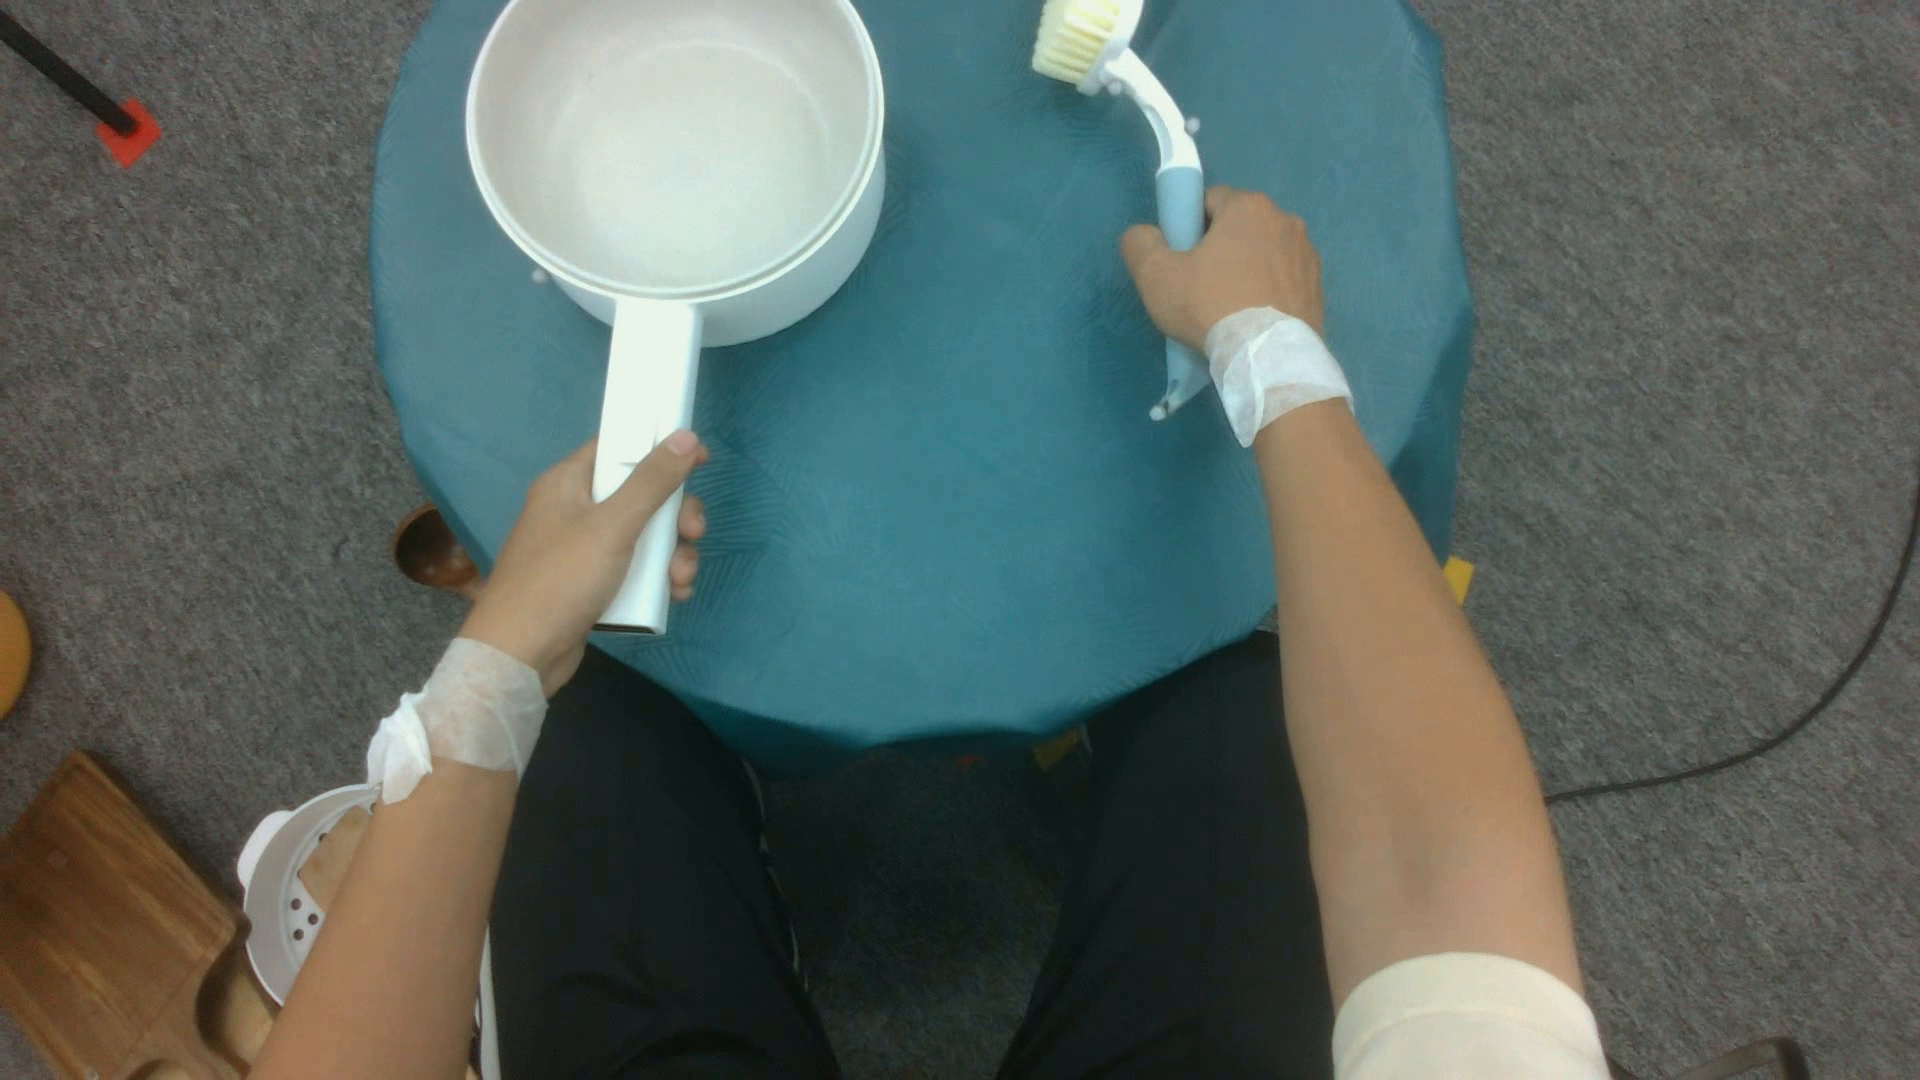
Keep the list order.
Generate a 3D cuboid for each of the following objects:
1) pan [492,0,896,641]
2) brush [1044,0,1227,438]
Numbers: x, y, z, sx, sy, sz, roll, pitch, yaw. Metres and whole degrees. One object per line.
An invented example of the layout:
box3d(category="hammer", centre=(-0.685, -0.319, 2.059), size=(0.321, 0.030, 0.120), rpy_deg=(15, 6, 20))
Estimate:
box3d(category="pan", centre=(-0.138, -0.122, 0.714), size=(0.201, 0.102, 0.355), rpy_deg=(4, 79, 2))
box3d(category="brush", centre=(0.082, -0.210, 0.726), size=(0.084, 0.083, 0.326), rpy_deg=(-8, 71, 21))
